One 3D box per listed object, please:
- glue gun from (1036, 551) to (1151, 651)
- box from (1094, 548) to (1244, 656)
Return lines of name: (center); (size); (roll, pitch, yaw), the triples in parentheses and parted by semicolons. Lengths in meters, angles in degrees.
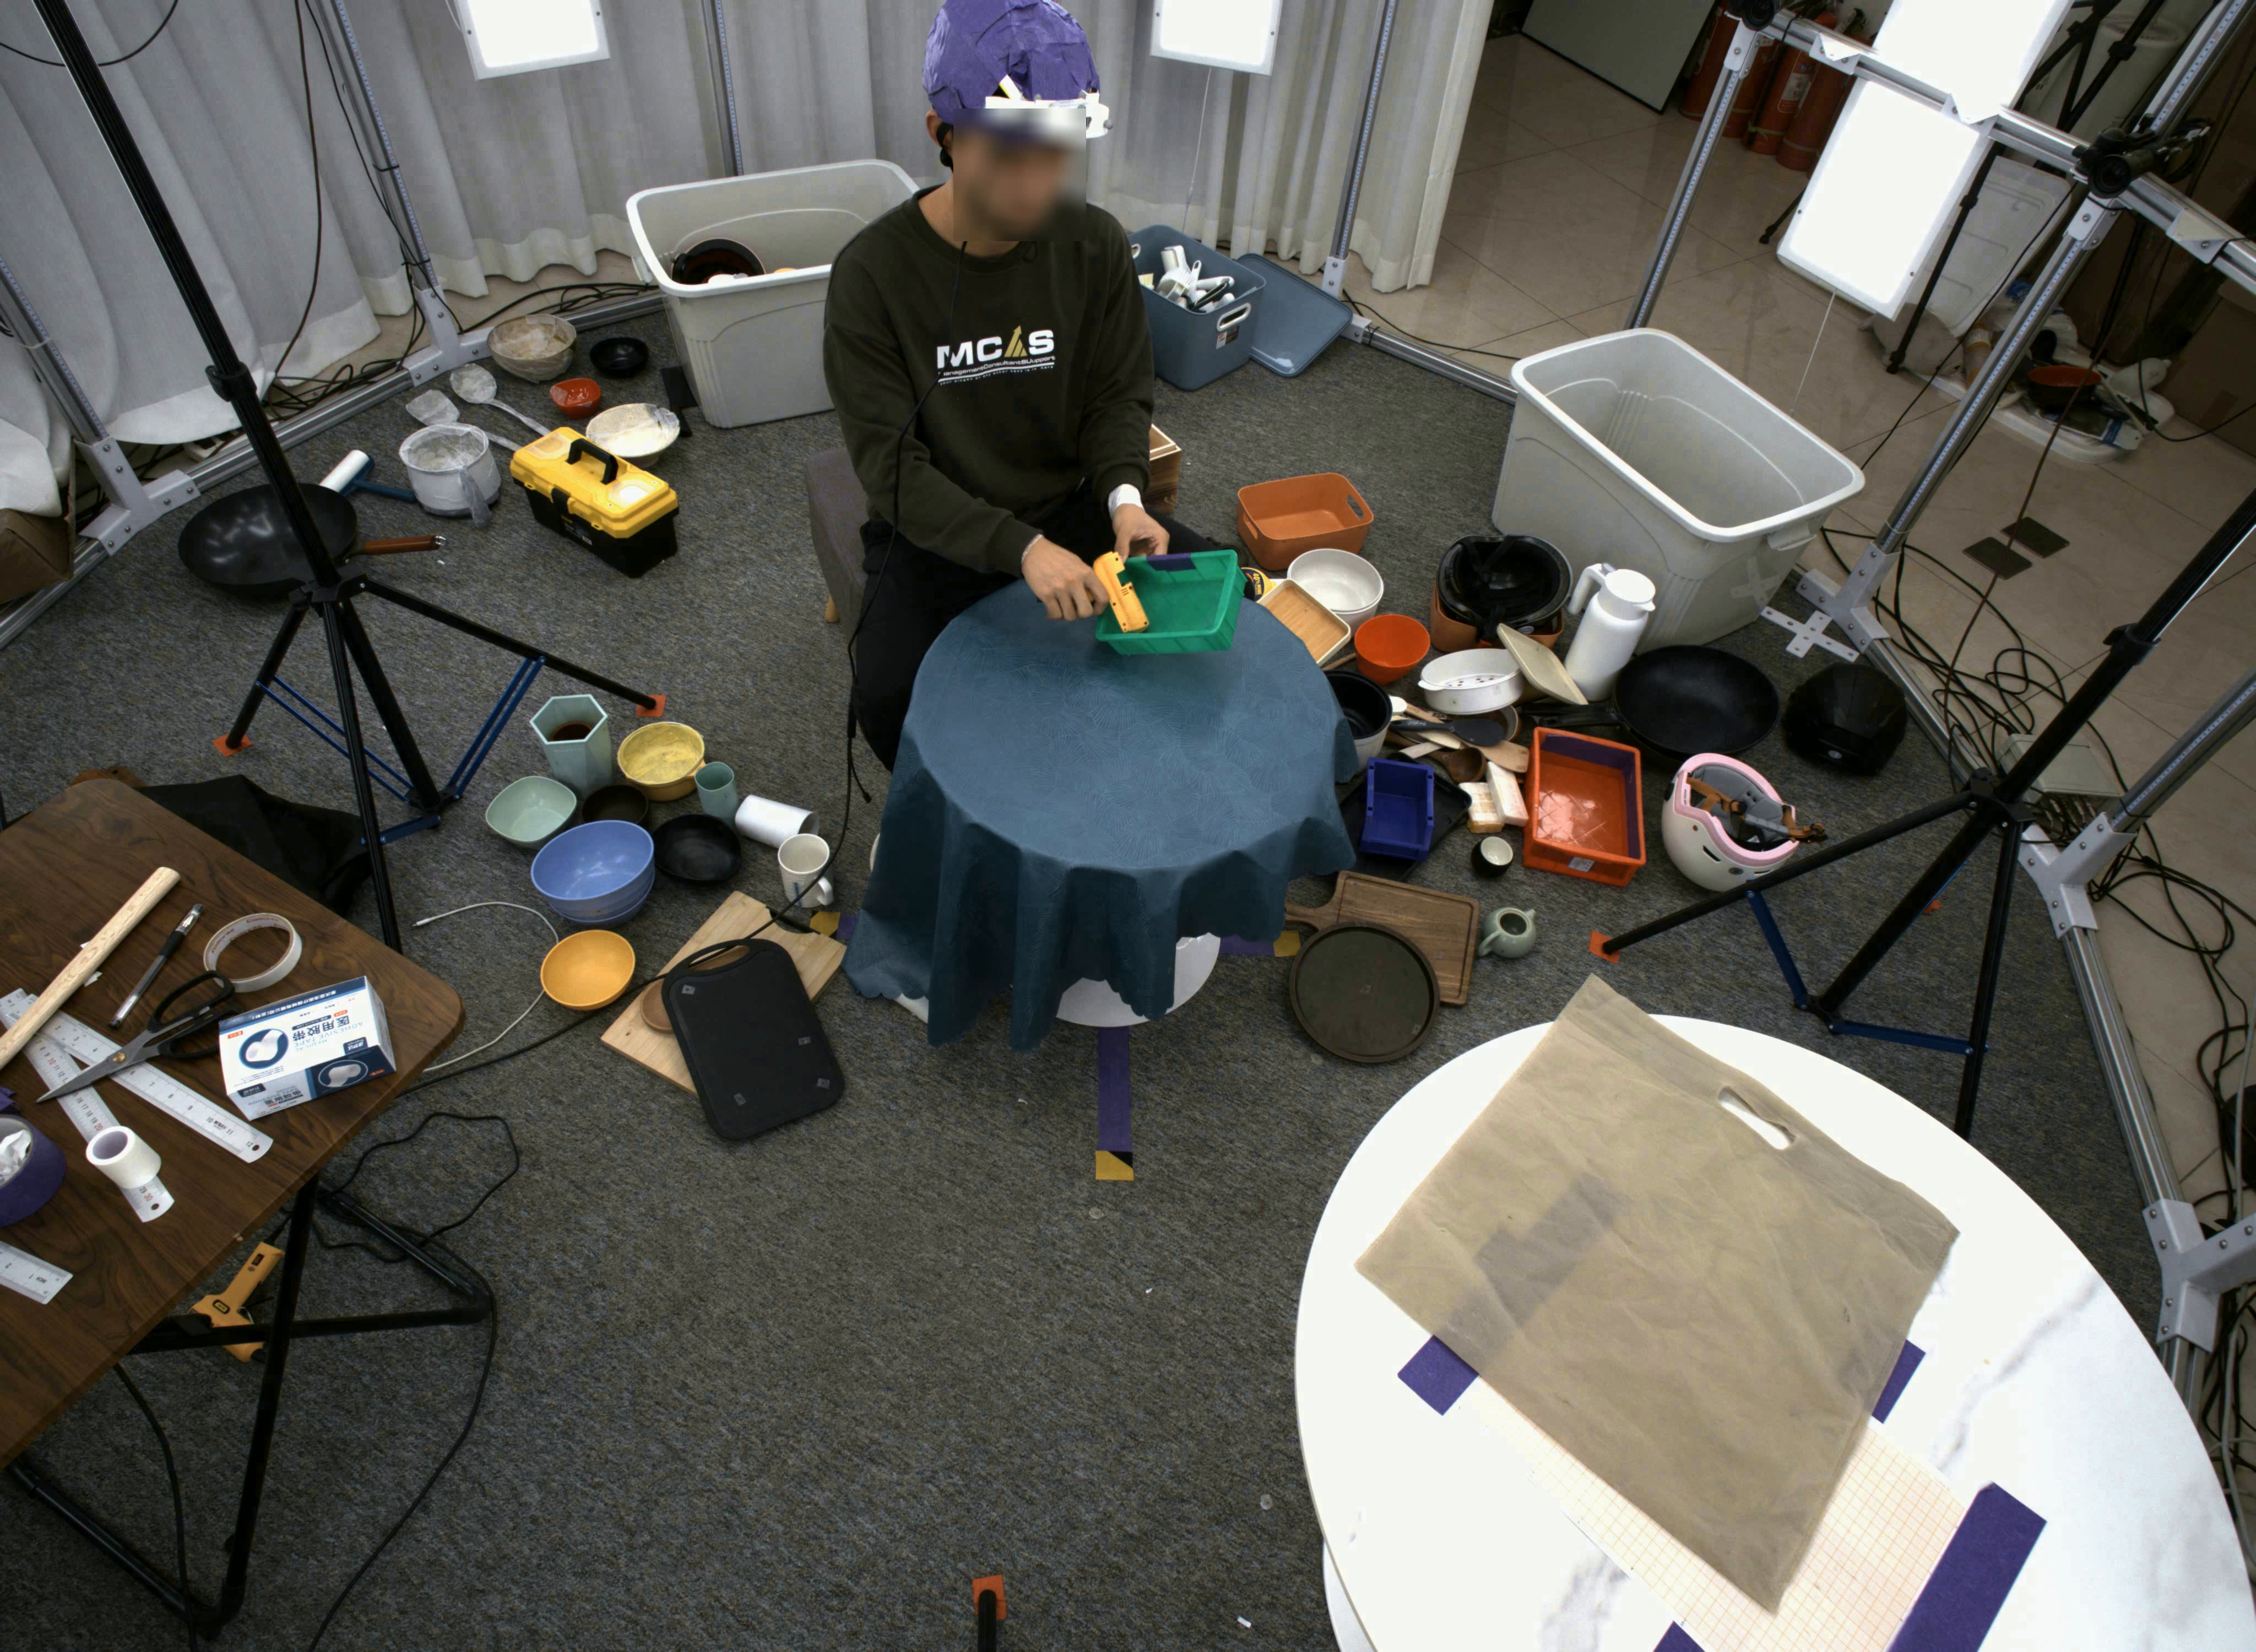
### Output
glue gun: (-0.038, -0.297, 1.833); (0.133, 0.150, 0.031); (-30, 11, 1)
box: (0.063, -0.313, 1.831); (0.211, 0.064, 0.141); (-1, 62, 33)
